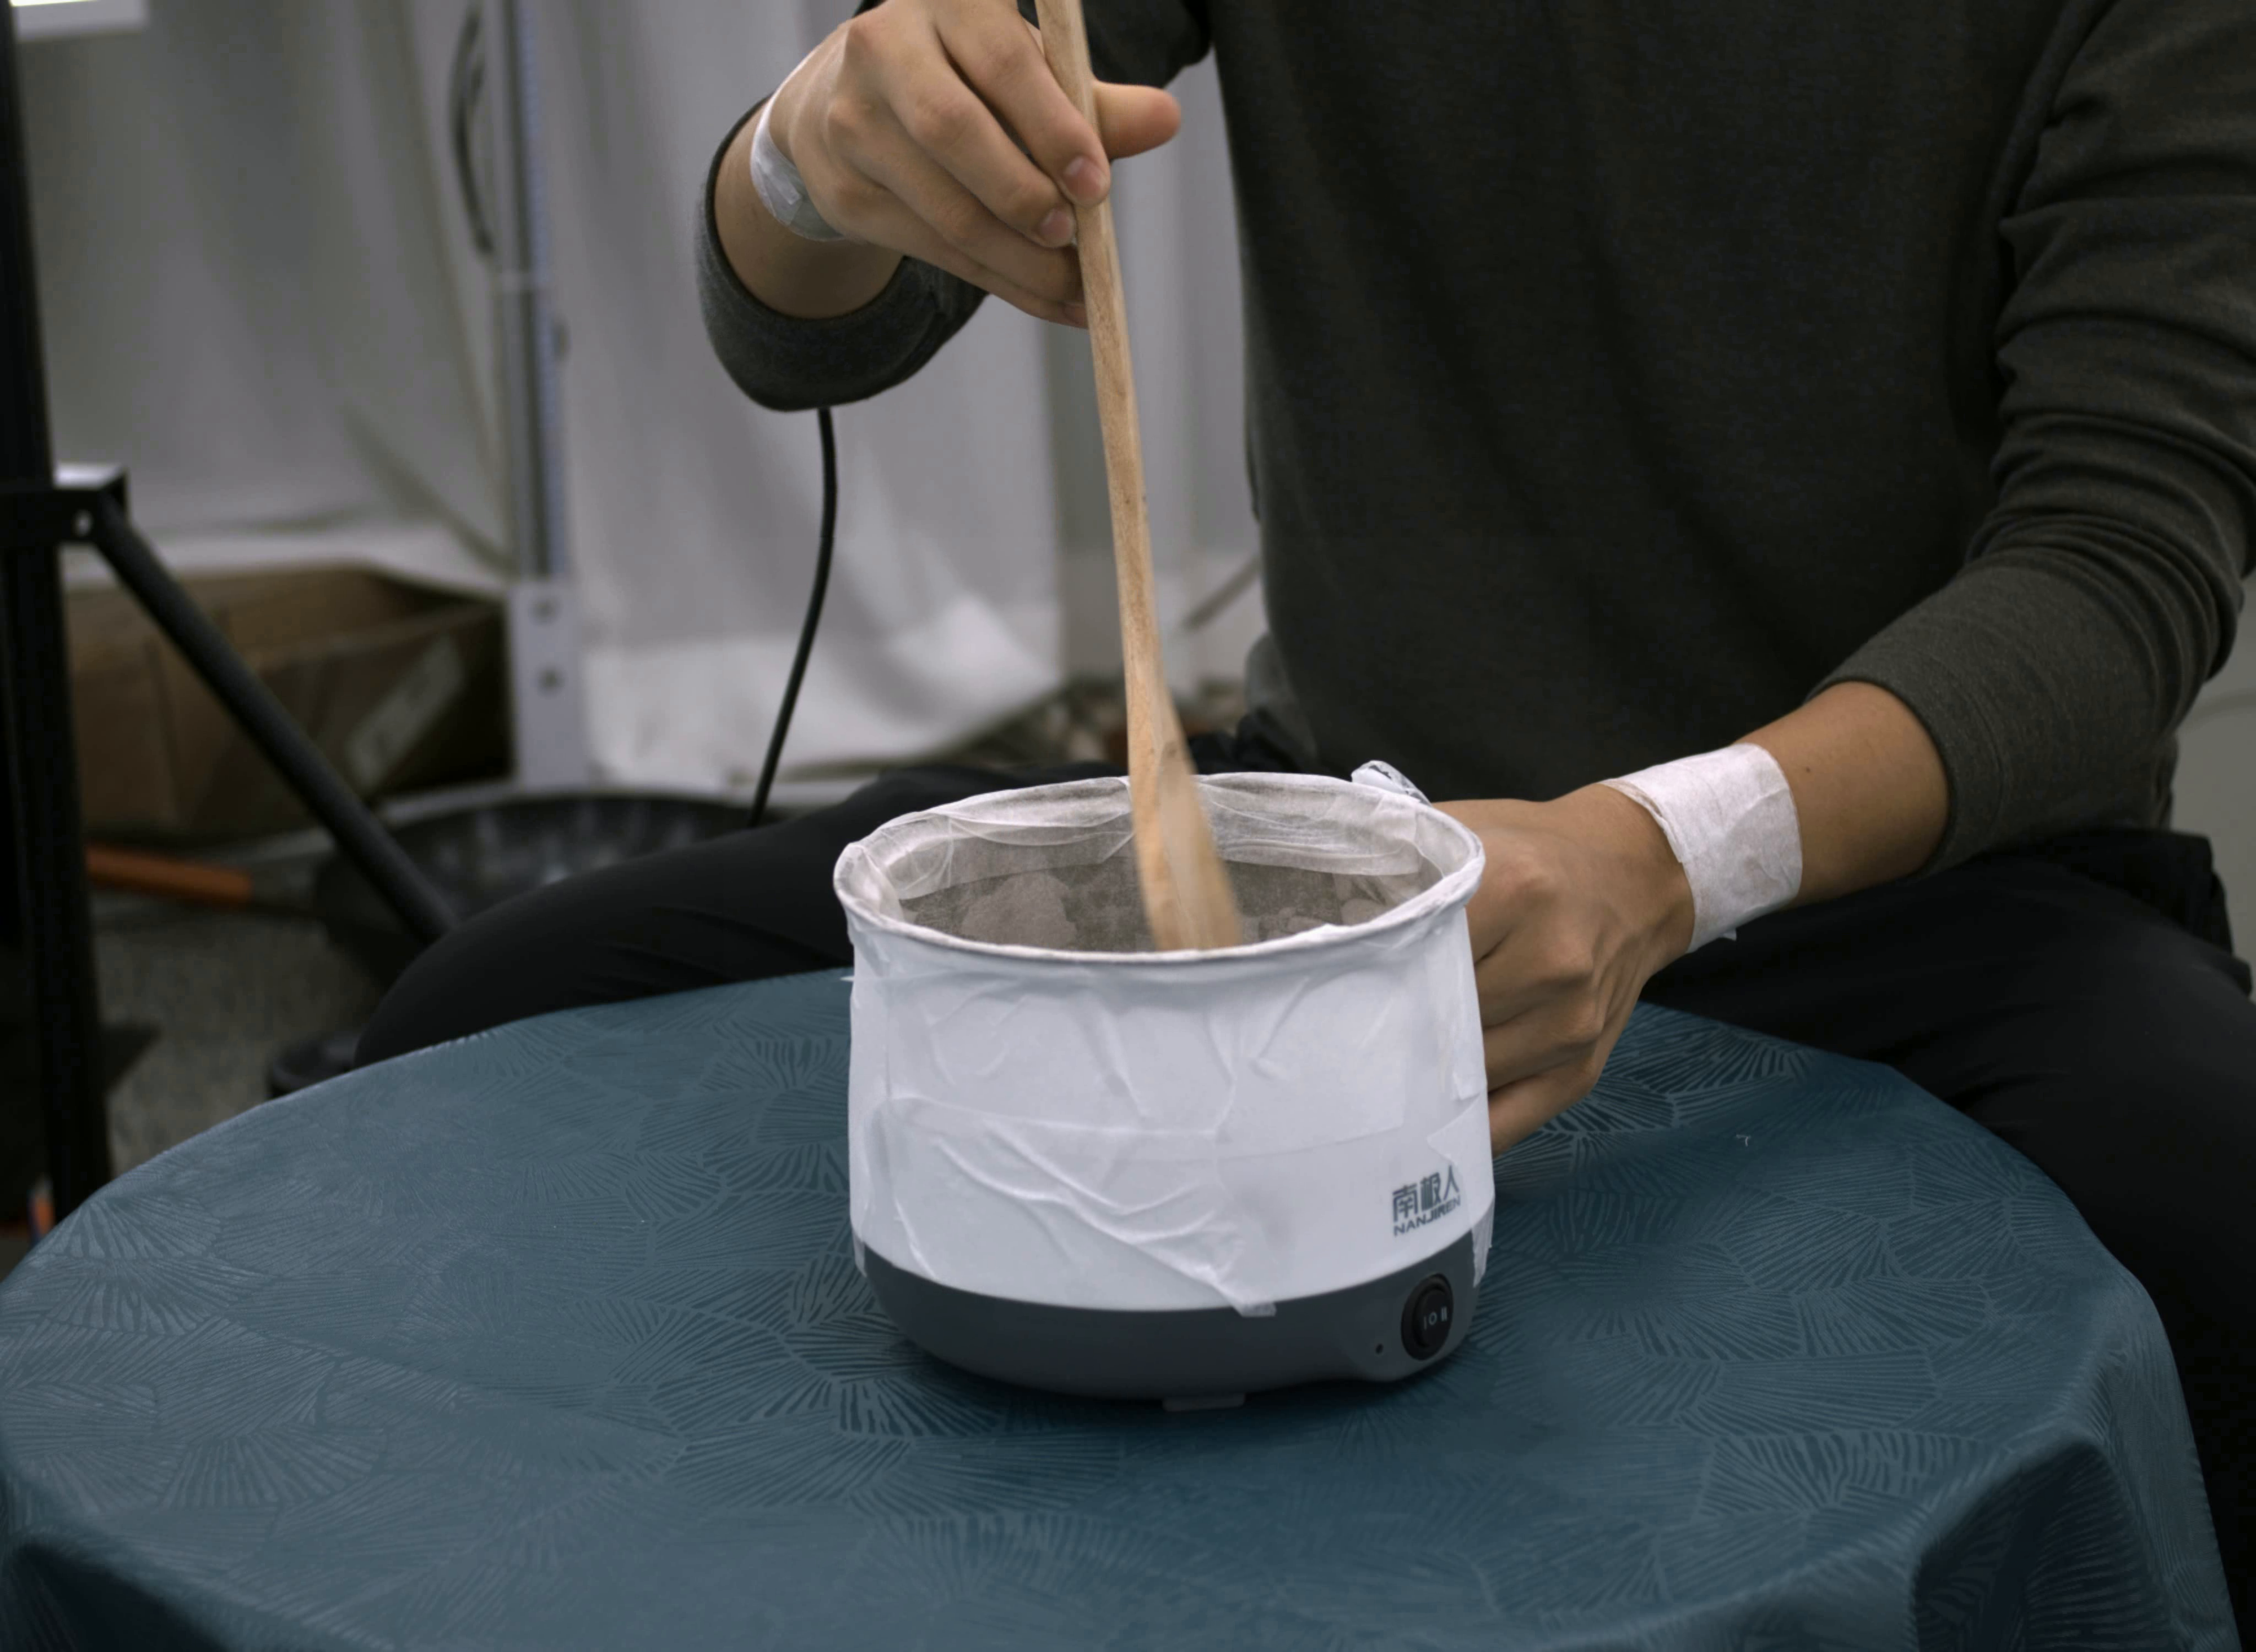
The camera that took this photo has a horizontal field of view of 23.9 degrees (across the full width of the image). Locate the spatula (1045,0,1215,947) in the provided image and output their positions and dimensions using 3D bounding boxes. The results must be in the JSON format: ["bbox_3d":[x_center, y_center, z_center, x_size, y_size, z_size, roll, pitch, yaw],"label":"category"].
[{"bbox_3d":[-0.004,-0.122,1.417,0.018,0.391,0.096,-8,7,-1],"label":"spatula"}]

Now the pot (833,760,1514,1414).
[{"bbox_3d":[0.028,0.064,1.464,0.182,0.136,0.229,10,20,38],"label":"pot"}]
